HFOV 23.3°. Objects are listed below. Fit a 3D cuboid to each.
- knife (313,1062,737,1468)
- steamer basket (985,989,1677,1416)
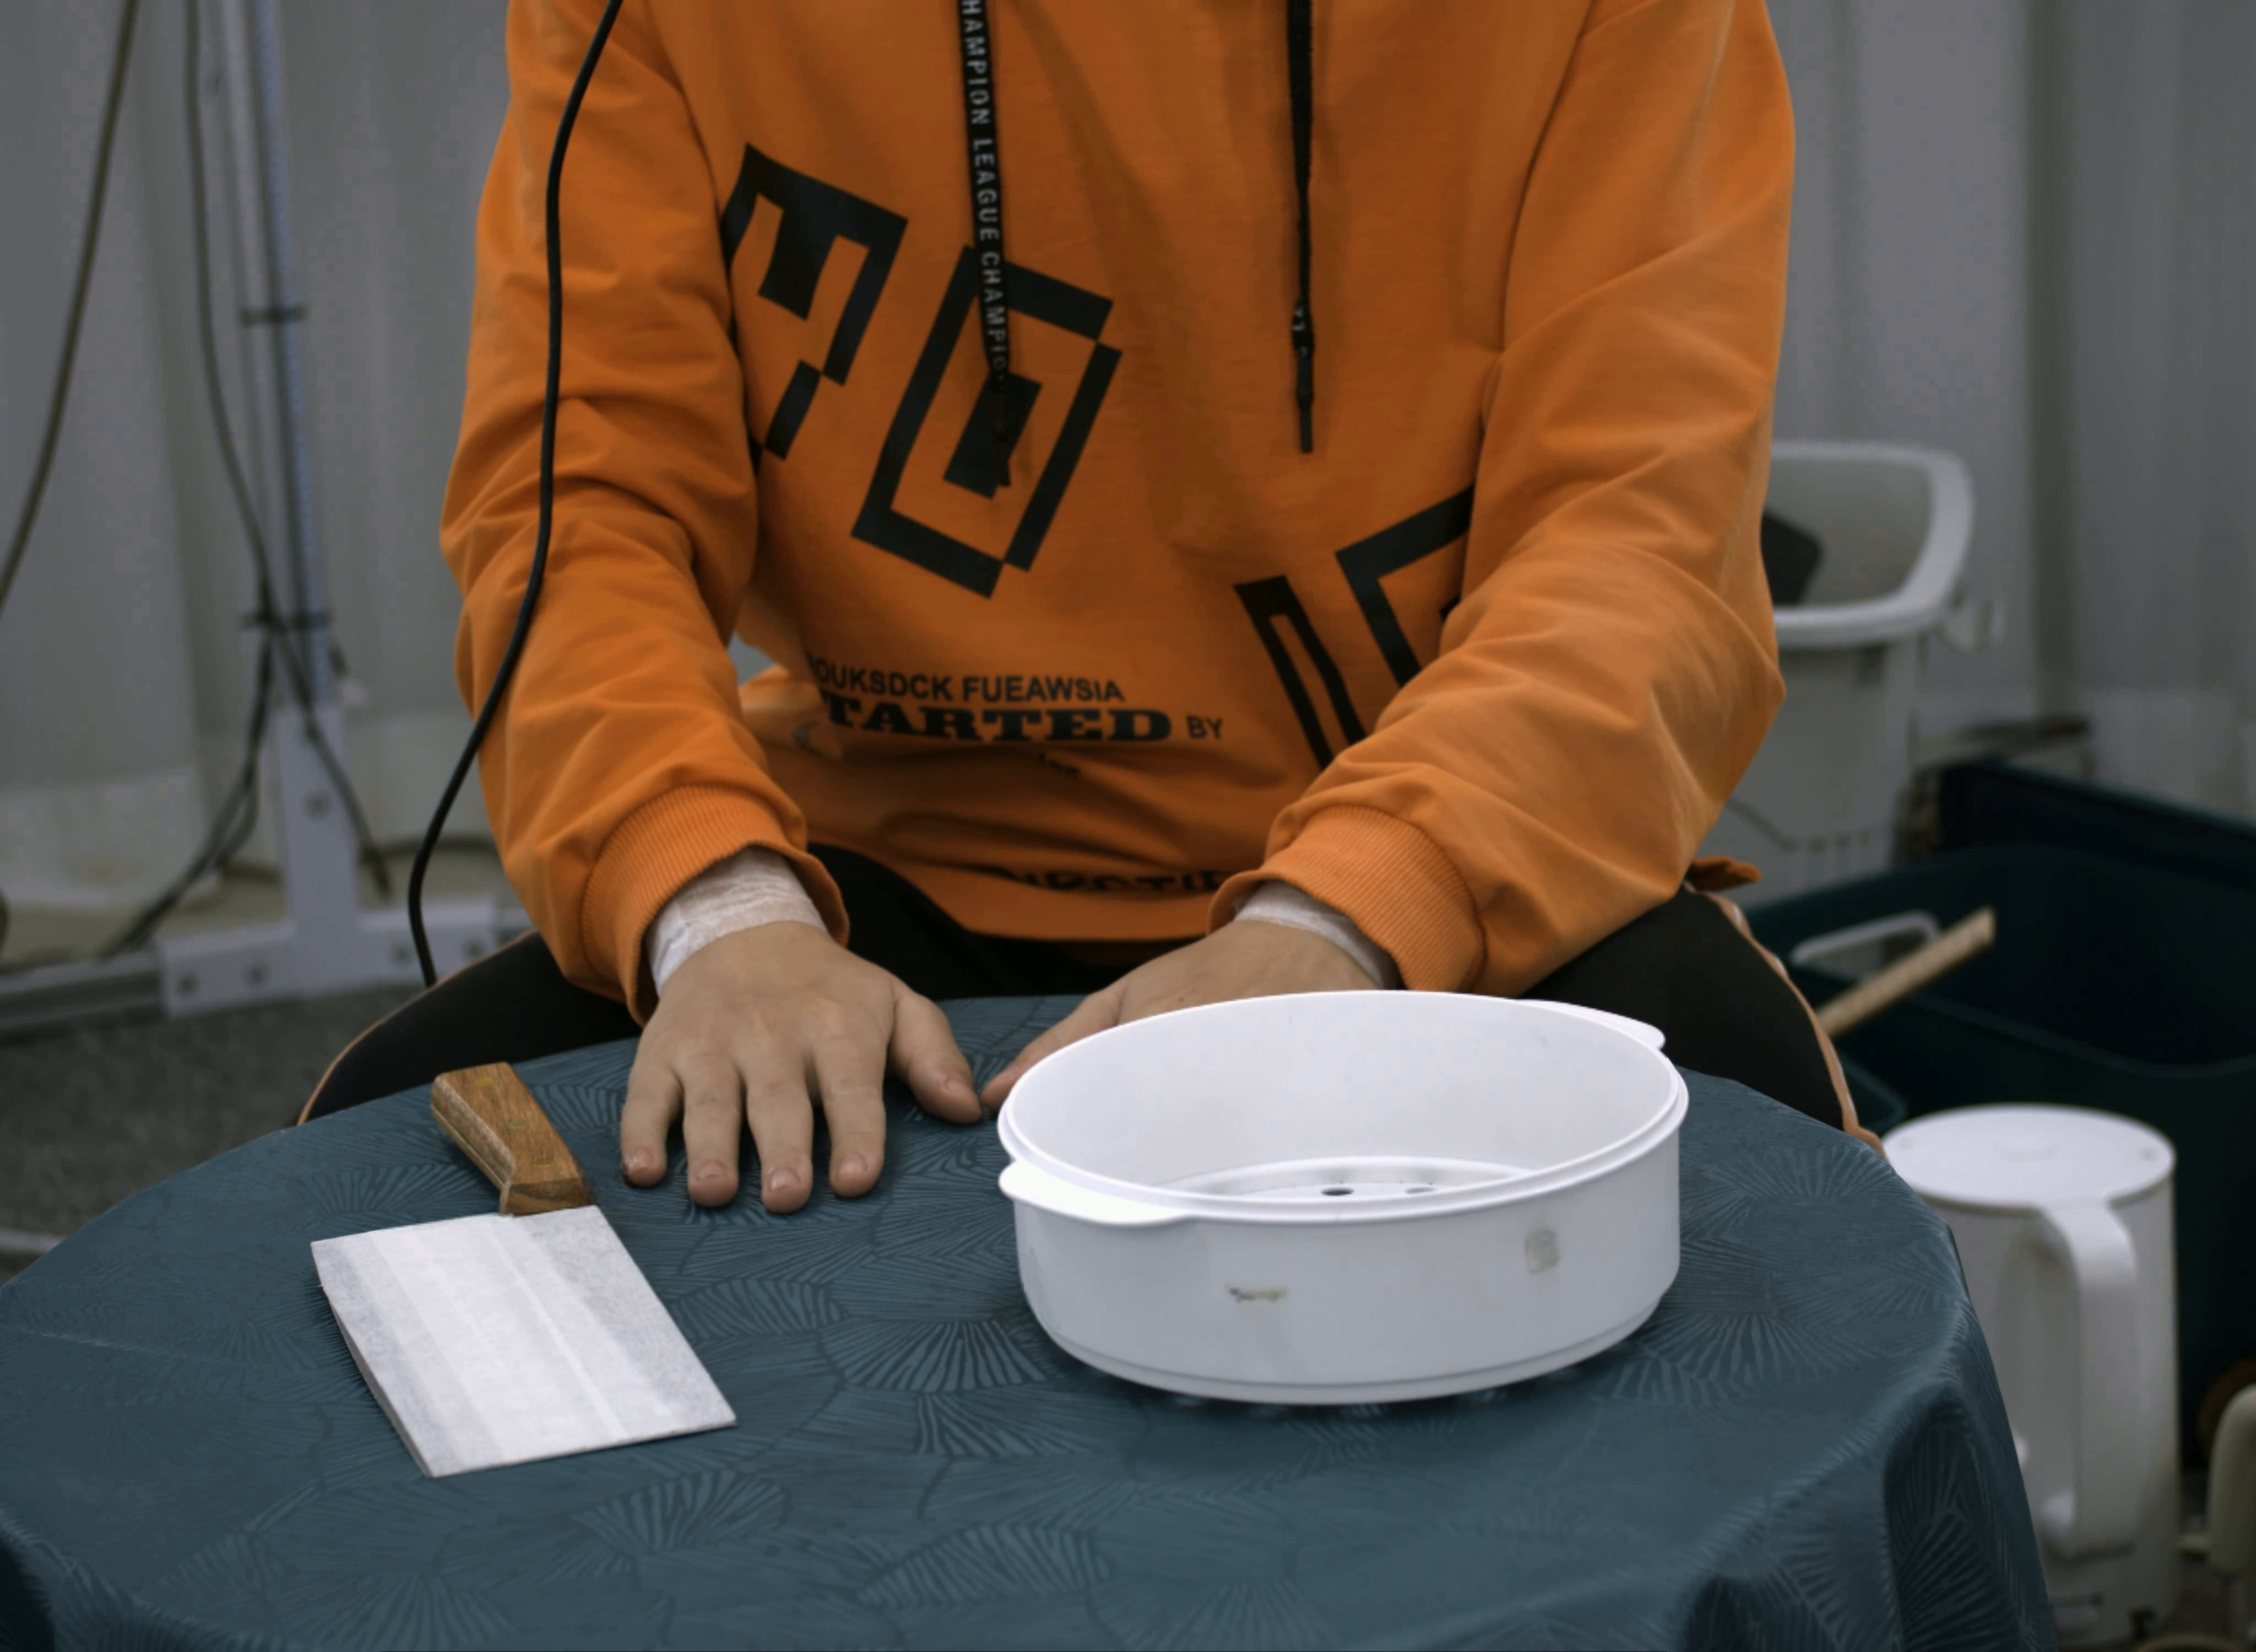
[{"bbox_3d":[-0.196,0.132,1.660,0.092,0.021,0.308,-9,18,-16],"label":"knife"},{"bbox_3d":[0.060,0.109,1.591,0.230,0.069,0.203,-18,20,-39],"label":"steamer basket"}]
